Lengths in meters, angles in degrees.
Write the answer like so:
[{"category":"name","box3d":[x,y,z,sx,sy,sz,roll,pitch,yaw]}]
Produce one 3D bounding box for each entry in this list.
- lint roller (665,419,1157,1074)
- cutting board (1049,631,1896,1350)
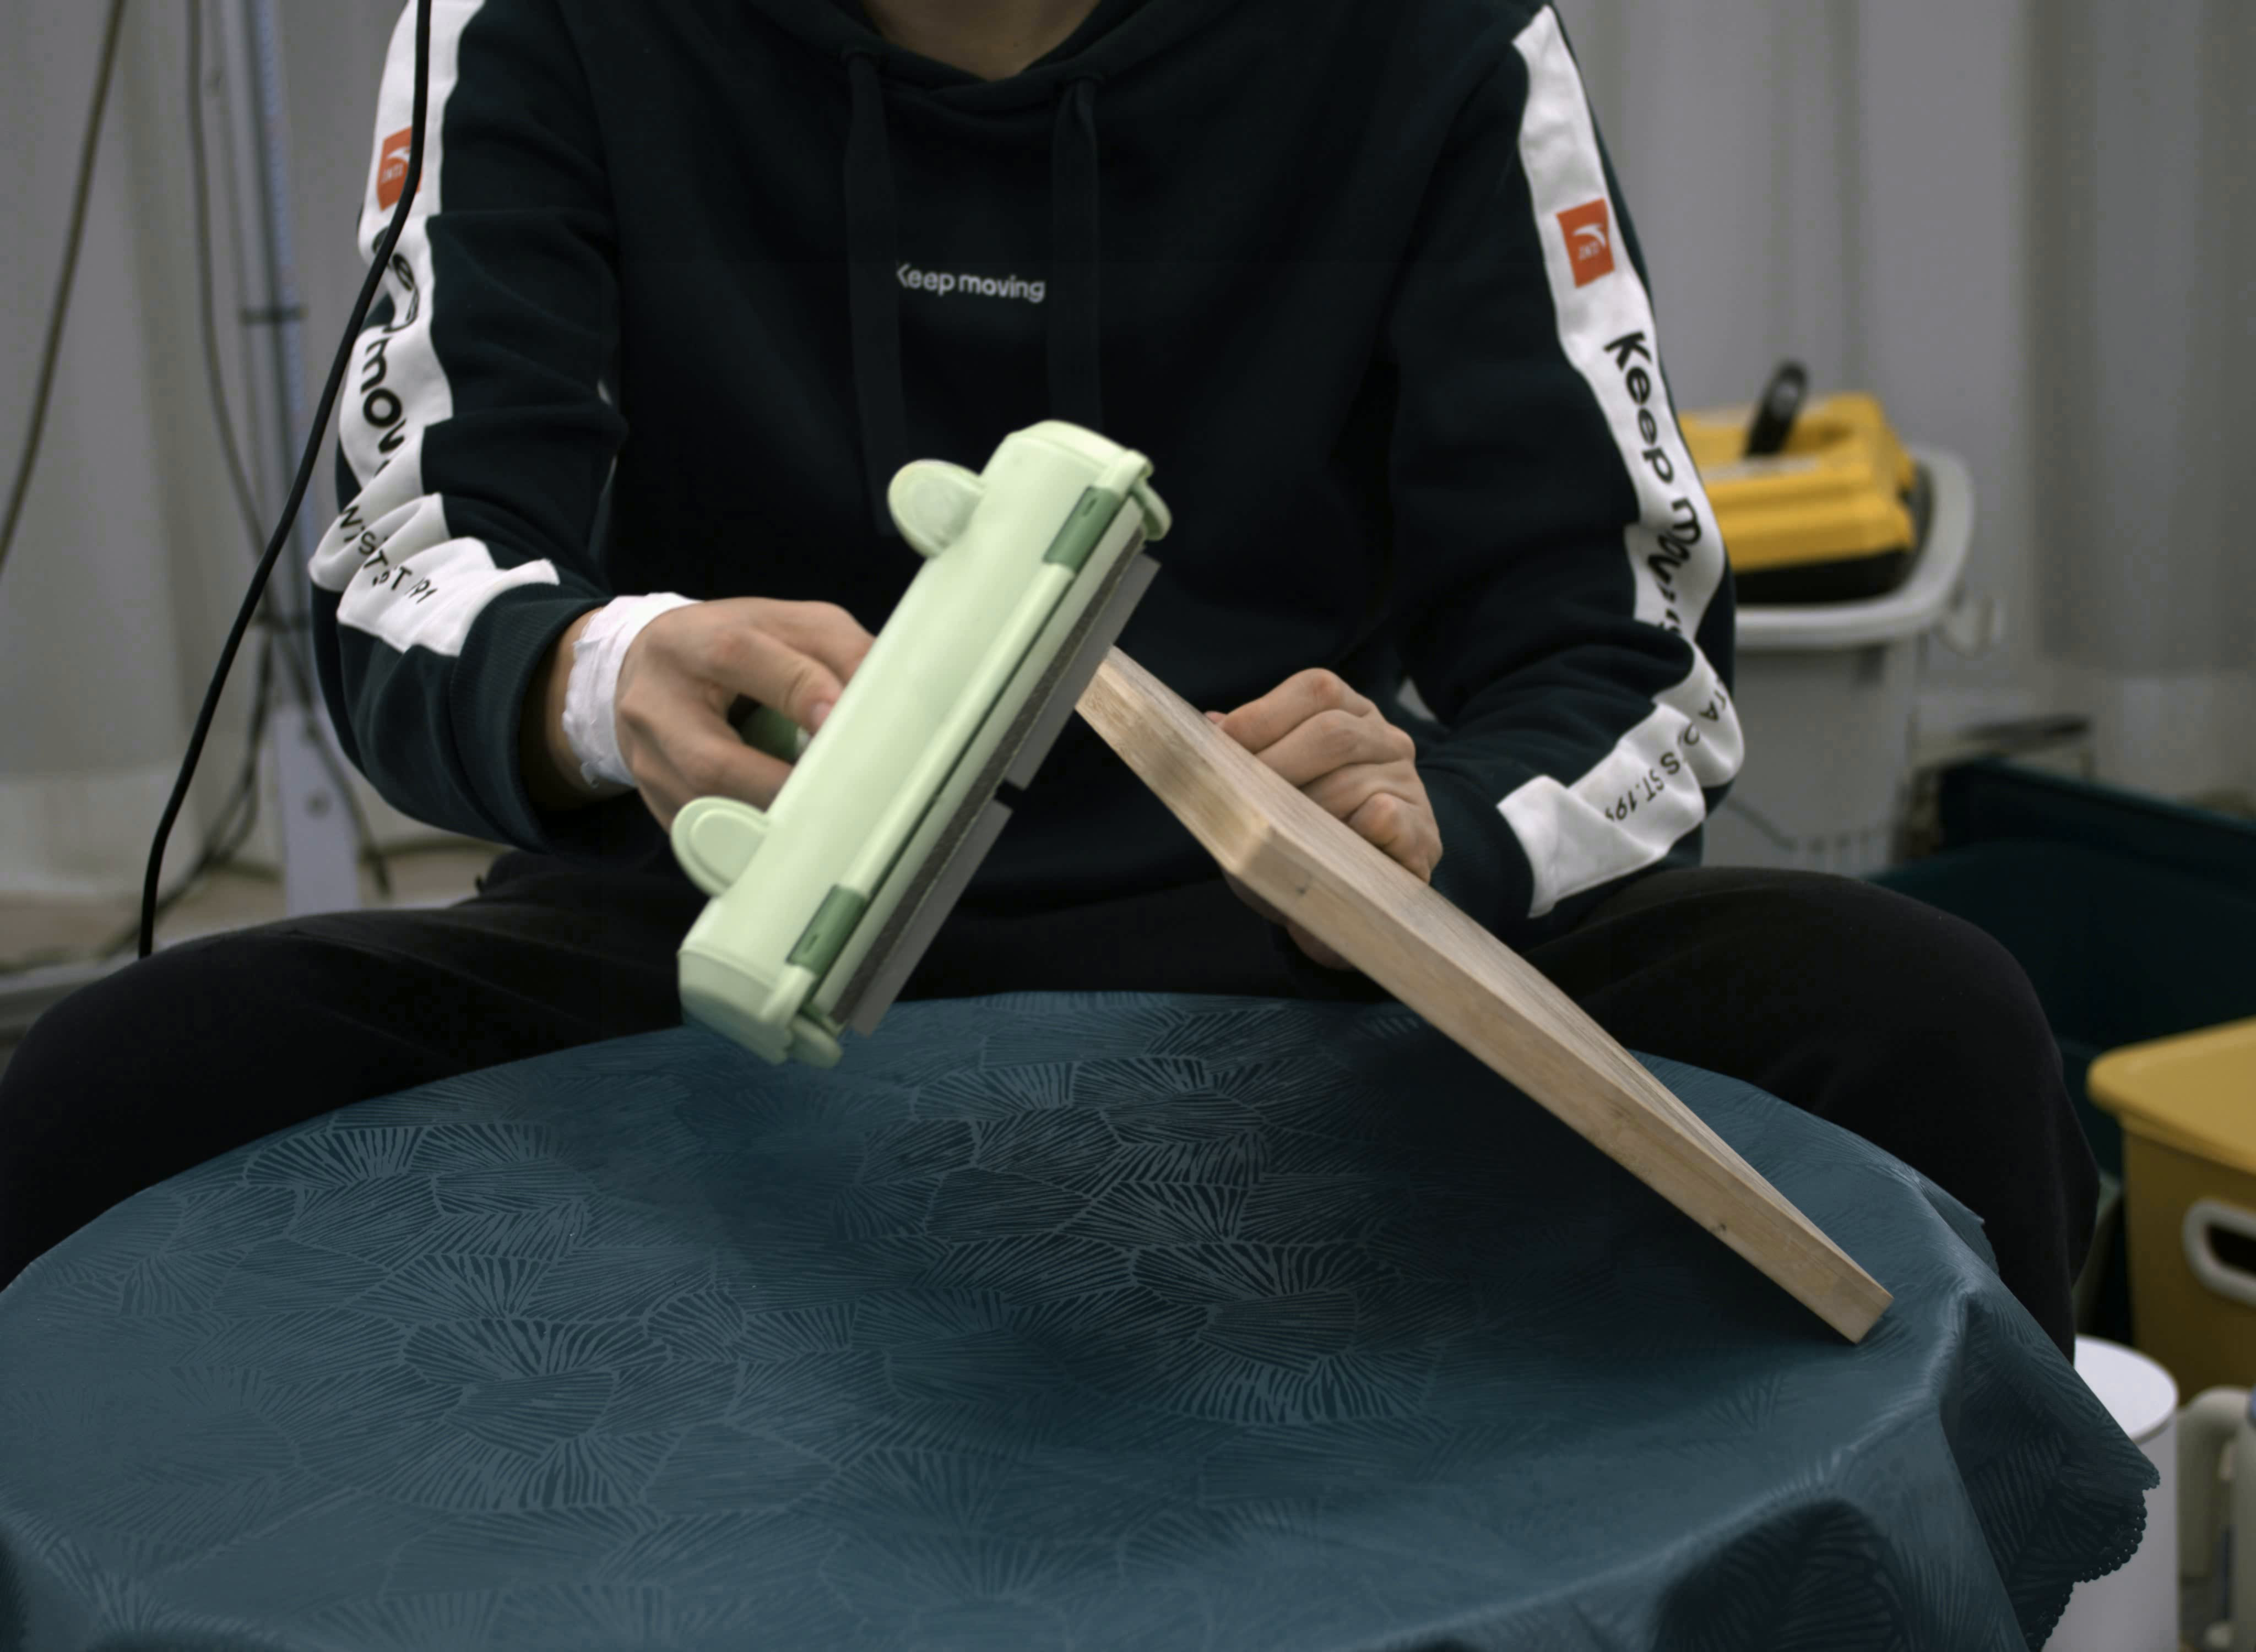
[{"category":"lint roller","box3d":[-0.093,-0.031,1.582,0.081,0.200,0.184,39,-16,-29]},{"category":"cutting board","box3d":[0.084,0.032,1.675,0.248,0.023,0.351,38,3,-19]}]
